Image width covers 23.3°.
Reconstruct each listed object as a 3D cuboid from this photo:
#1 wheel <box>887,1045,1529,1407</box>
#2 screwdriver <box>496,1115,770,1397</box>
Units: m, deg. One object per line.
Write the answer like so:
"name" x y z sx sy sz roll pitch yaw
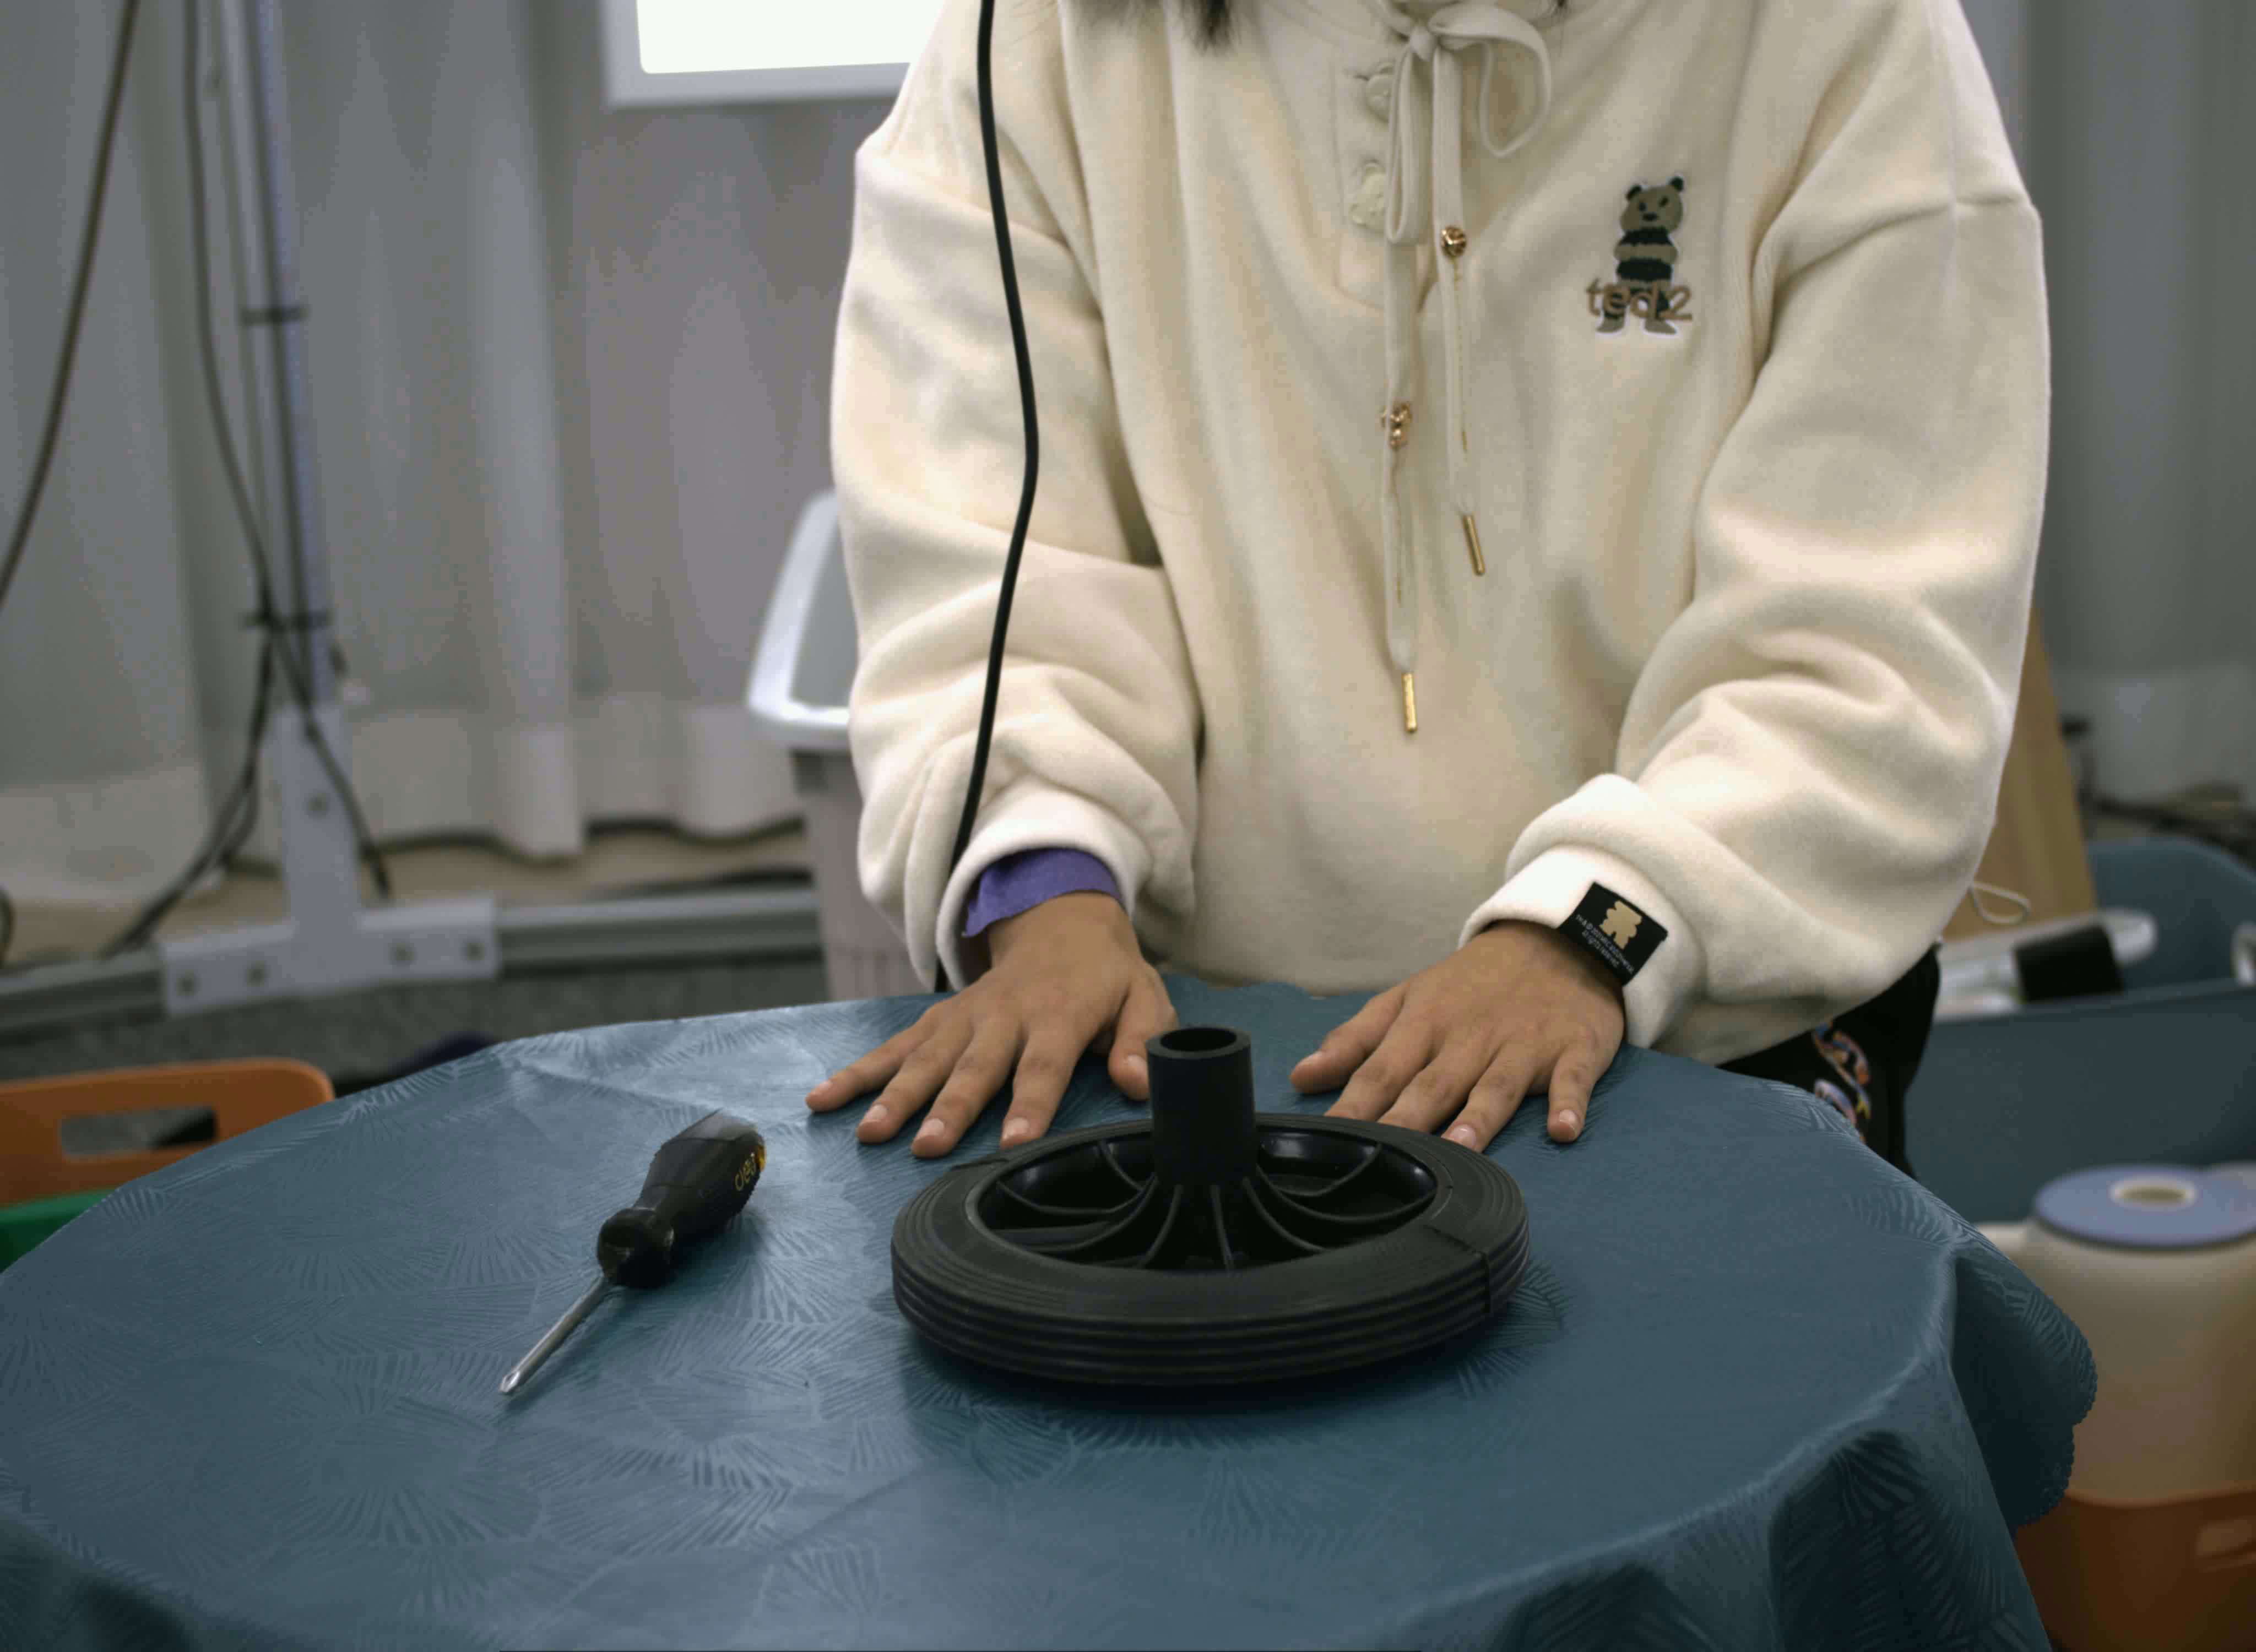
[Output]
"wheel" 0.021 0.106 1.598 0.189 0.079 0.189 -11 16 -19
"screwdriver" -0.147 0.130 1.641 0.031 0.031 0.197 1 17 14
